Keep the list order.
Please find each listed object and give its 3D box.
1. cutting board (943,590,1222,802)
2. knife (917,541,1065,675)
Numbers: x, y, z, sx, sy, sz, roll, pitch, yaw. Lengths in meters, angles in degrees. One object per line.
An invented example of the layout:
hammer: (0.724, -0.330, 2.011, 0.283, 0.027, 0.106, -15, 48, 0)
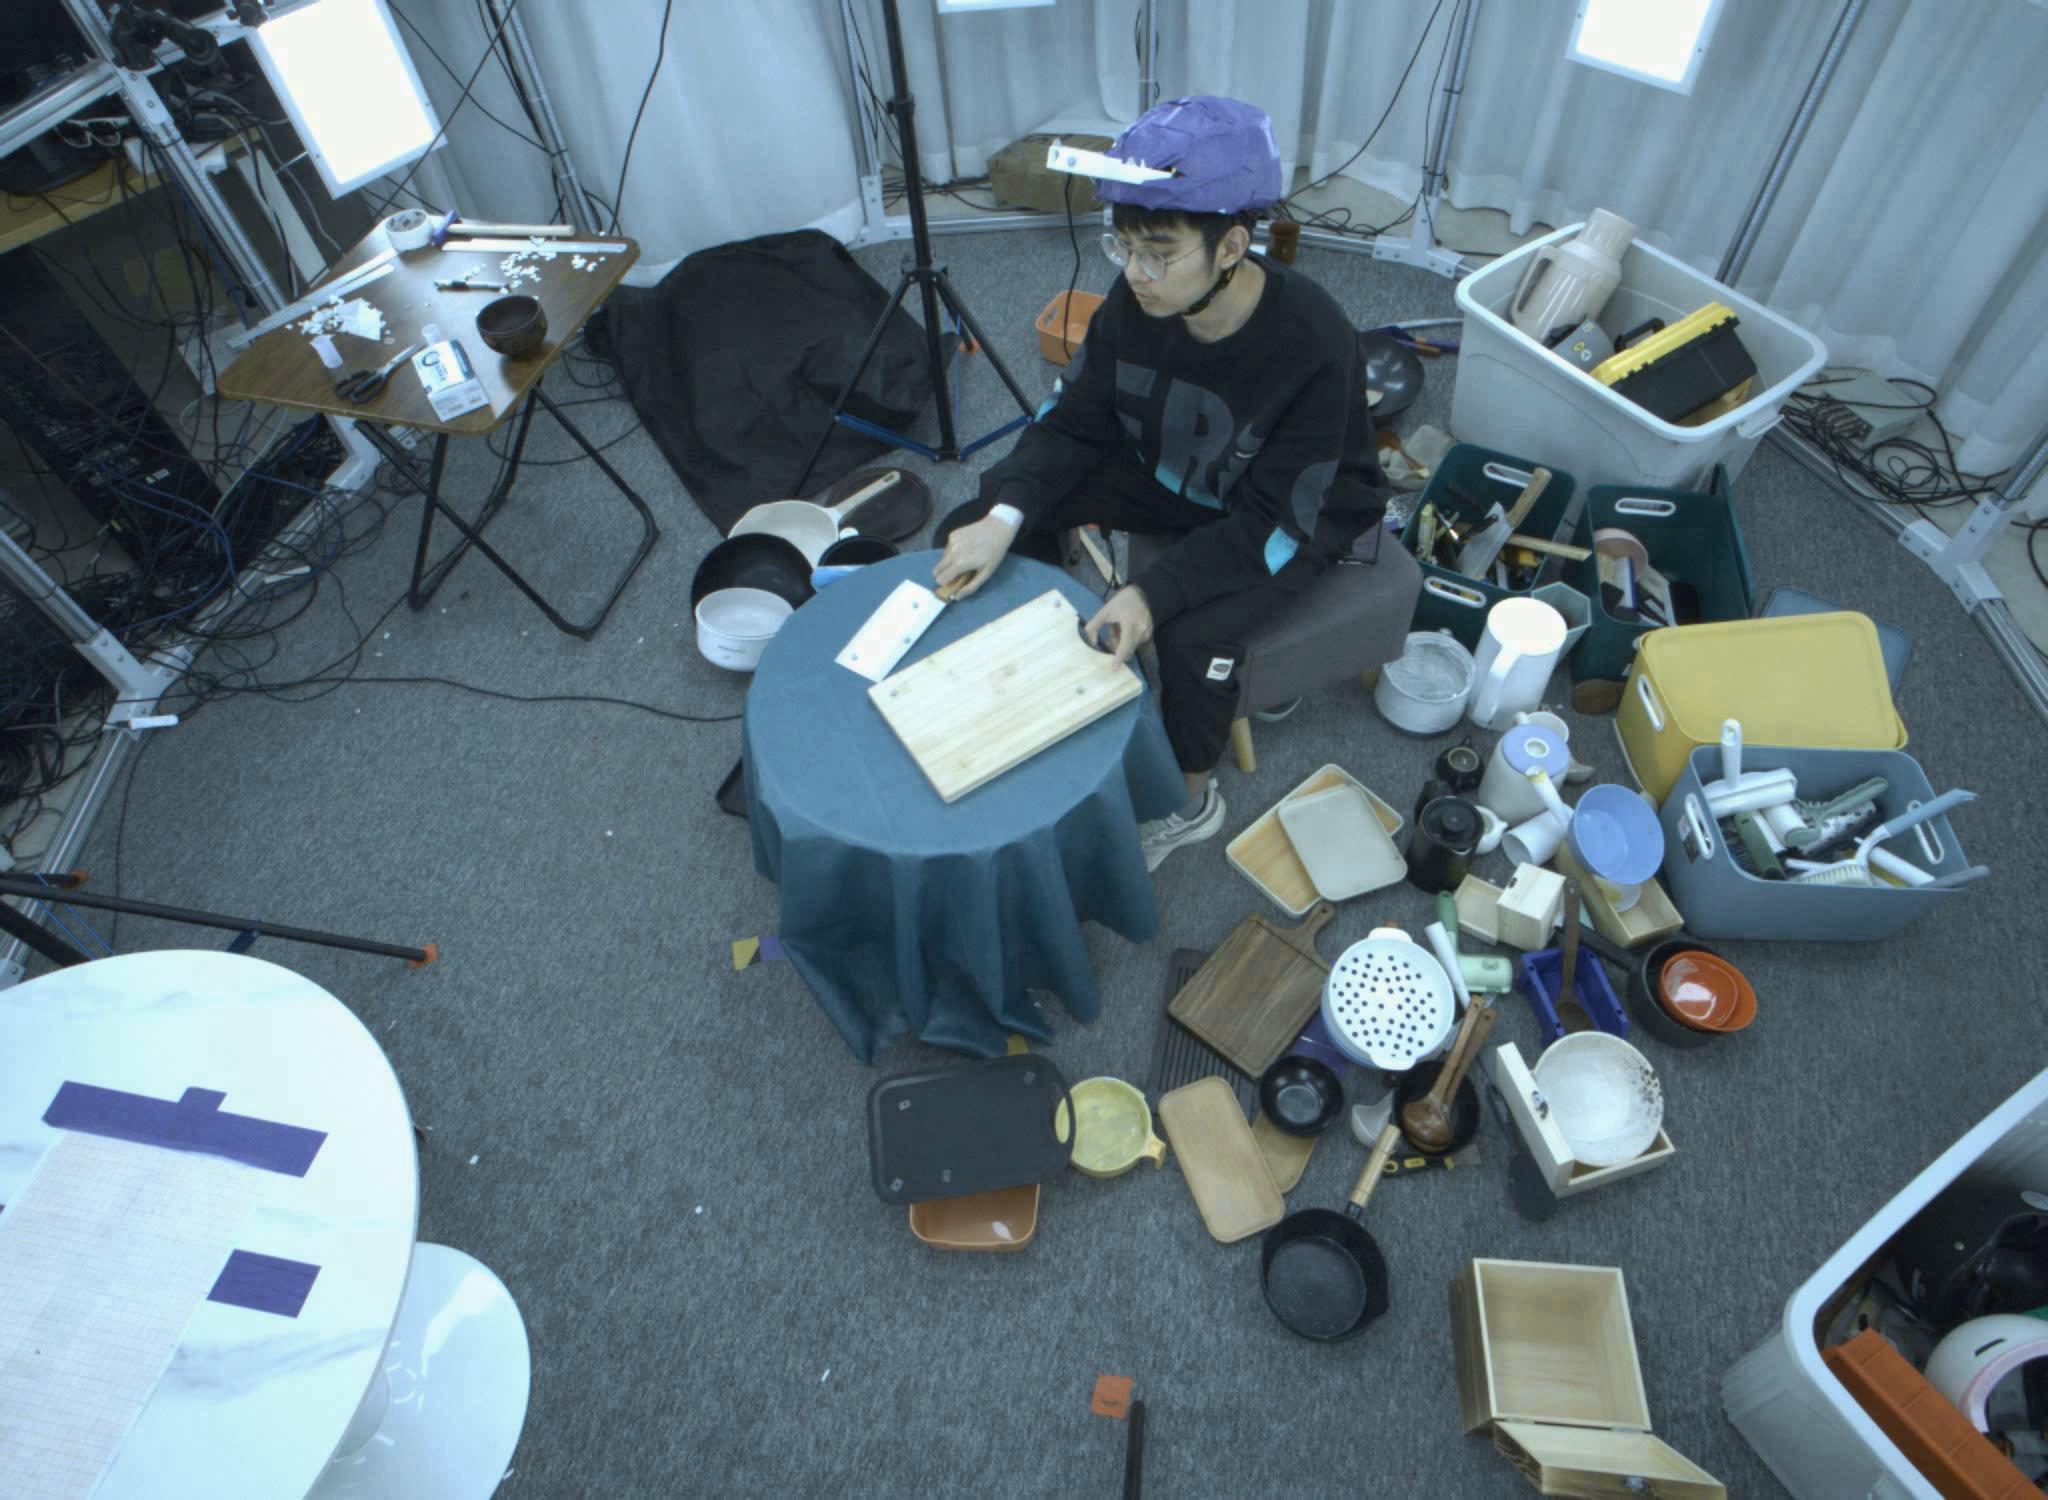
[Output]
cutting board: (0.081, -0.088, 1.826, 0.351, 0.024, 0.246, -27, 58, -12)
knife: (-0.056, -0.237, 1.943, 0.091, 0.021, 0.307, 31, 65, 22)
